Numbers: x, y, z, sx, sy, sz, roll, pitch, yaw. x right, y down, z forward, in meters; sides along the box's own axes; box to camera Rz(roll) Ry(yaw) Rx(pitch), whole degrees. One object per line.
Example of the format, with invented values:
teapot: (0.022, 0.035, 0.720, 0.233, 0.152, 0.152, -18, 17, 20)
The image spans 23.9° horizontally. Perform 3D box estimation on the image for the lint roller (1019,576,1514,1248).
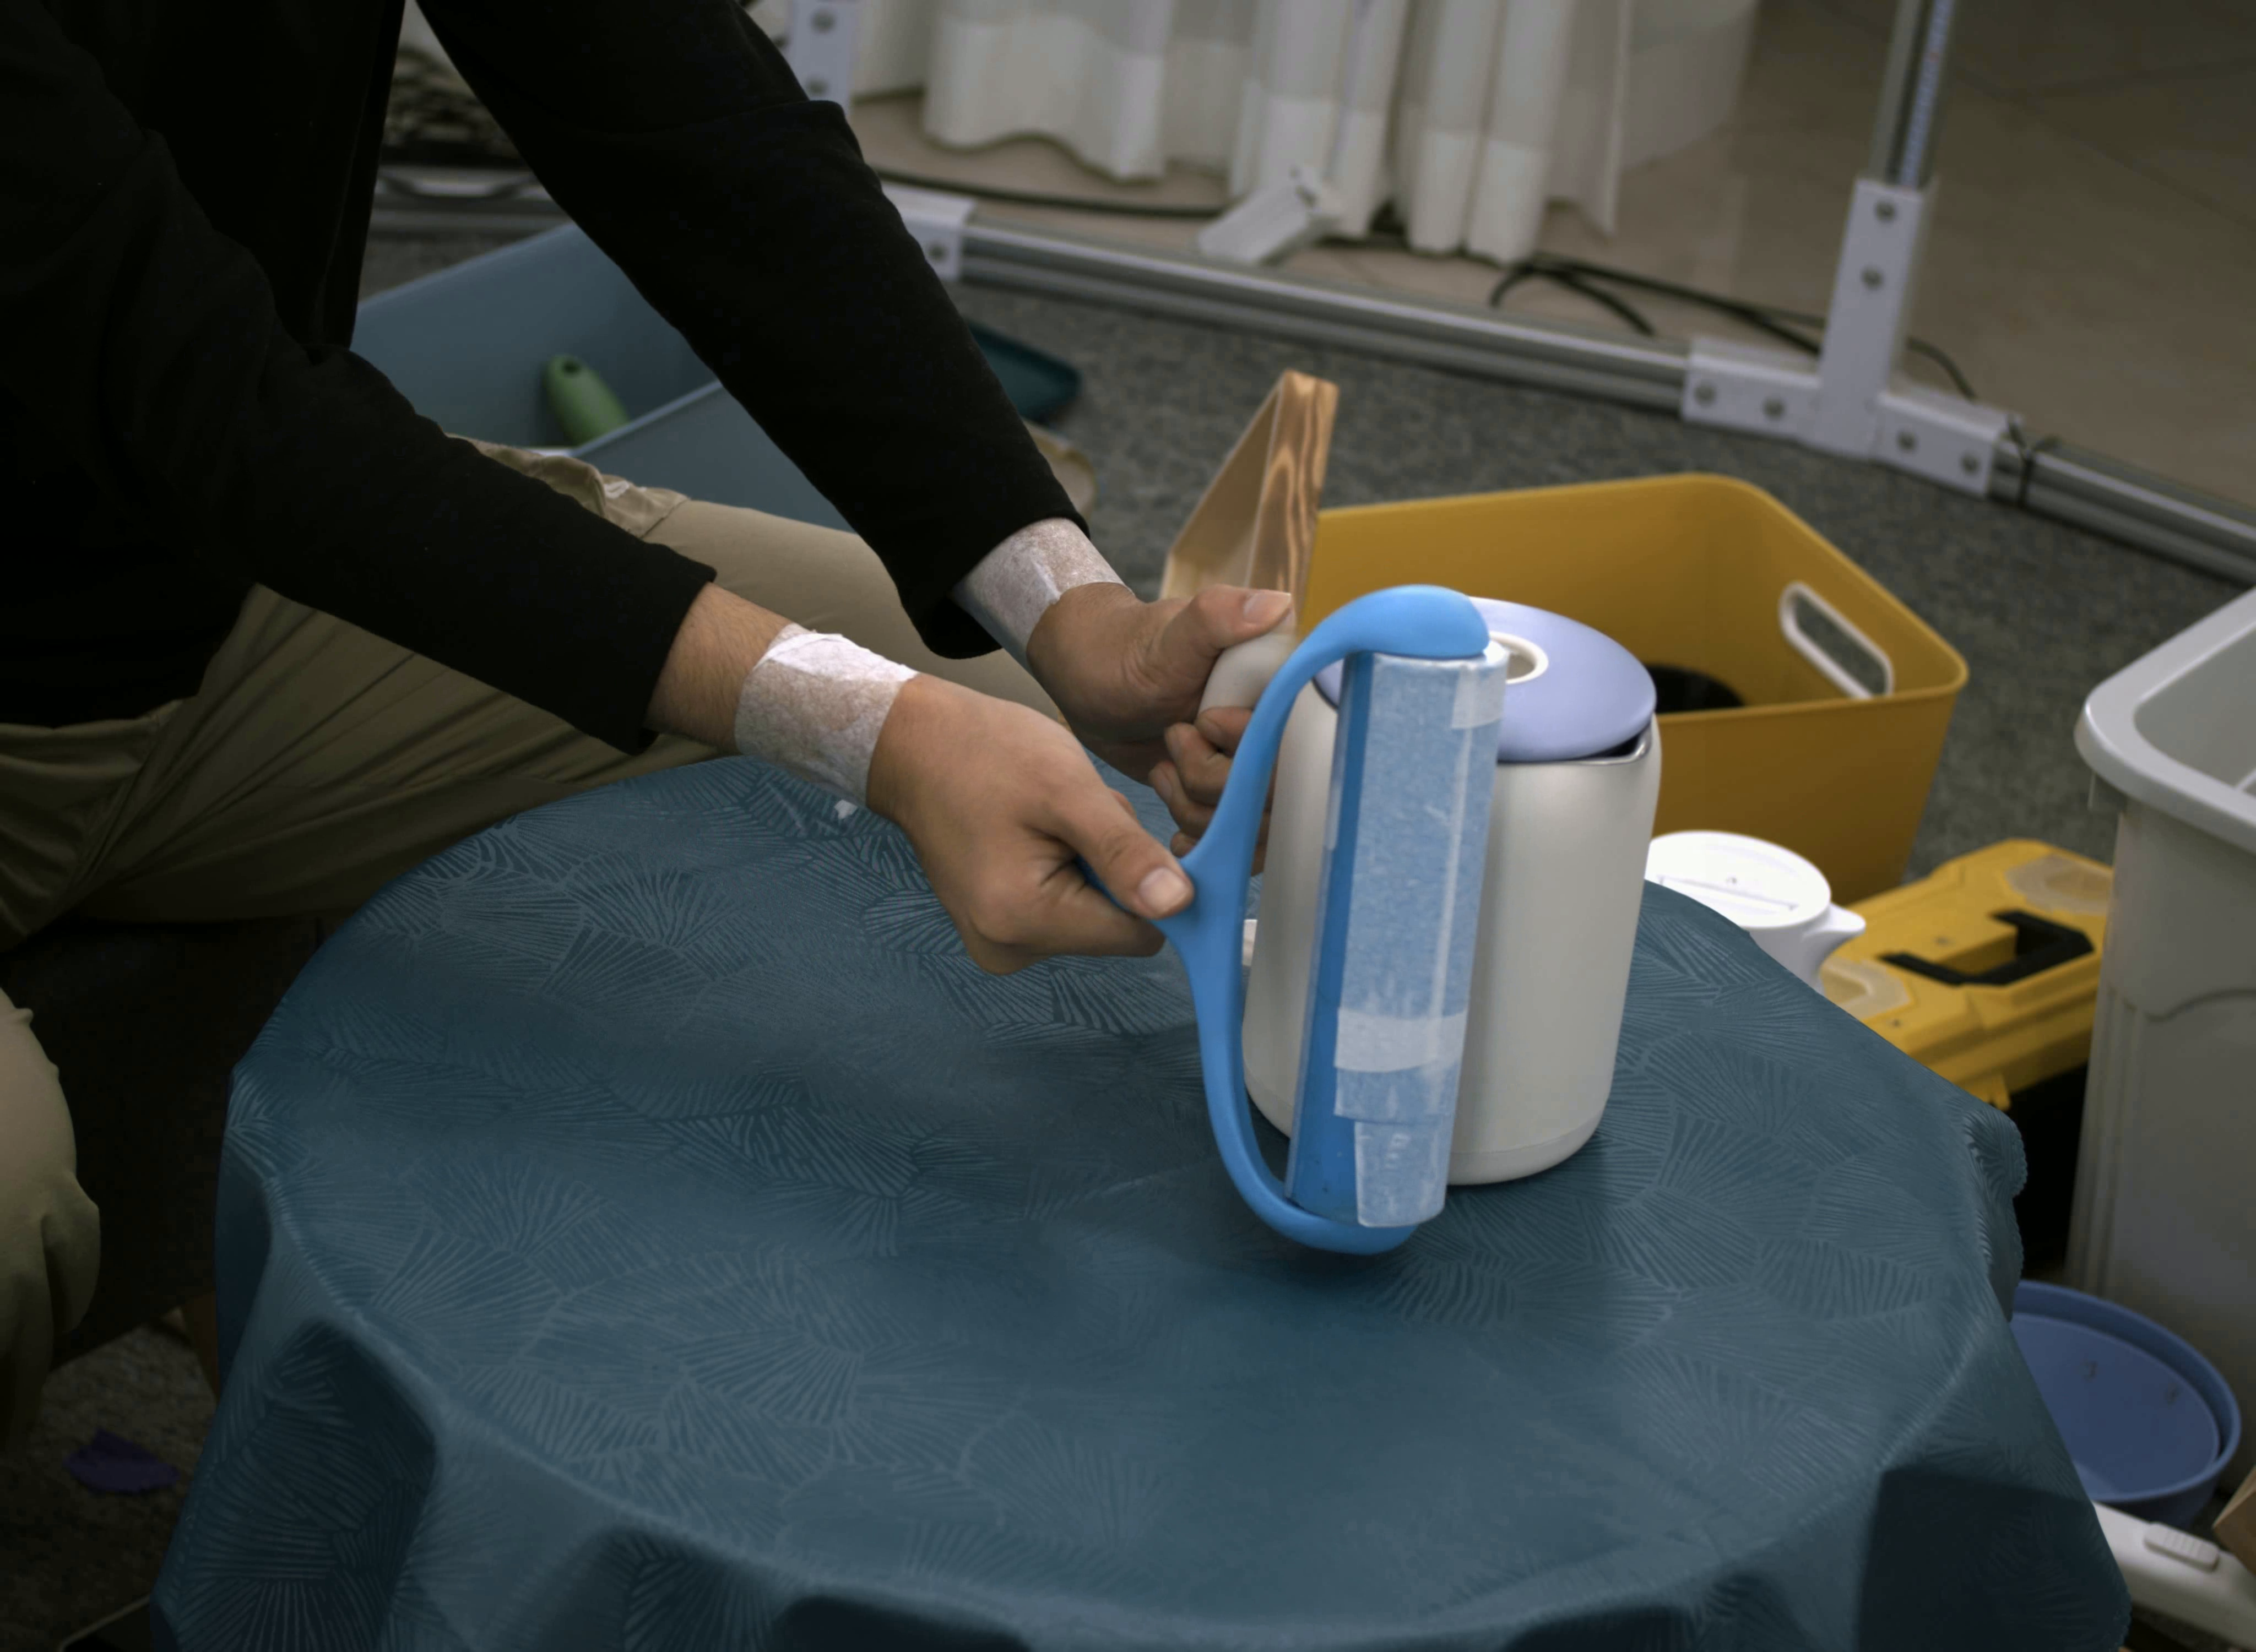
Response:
lint roller: (0.034, 0.021, 1.765, 0.181, 0.228, 0.068, 10, 18, 22)

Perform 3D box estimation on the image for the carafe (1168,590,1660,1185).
carafe: (0.093, 0.012, 1.852, 0.192, 0.182, 0.131, 23, 30, 34)
